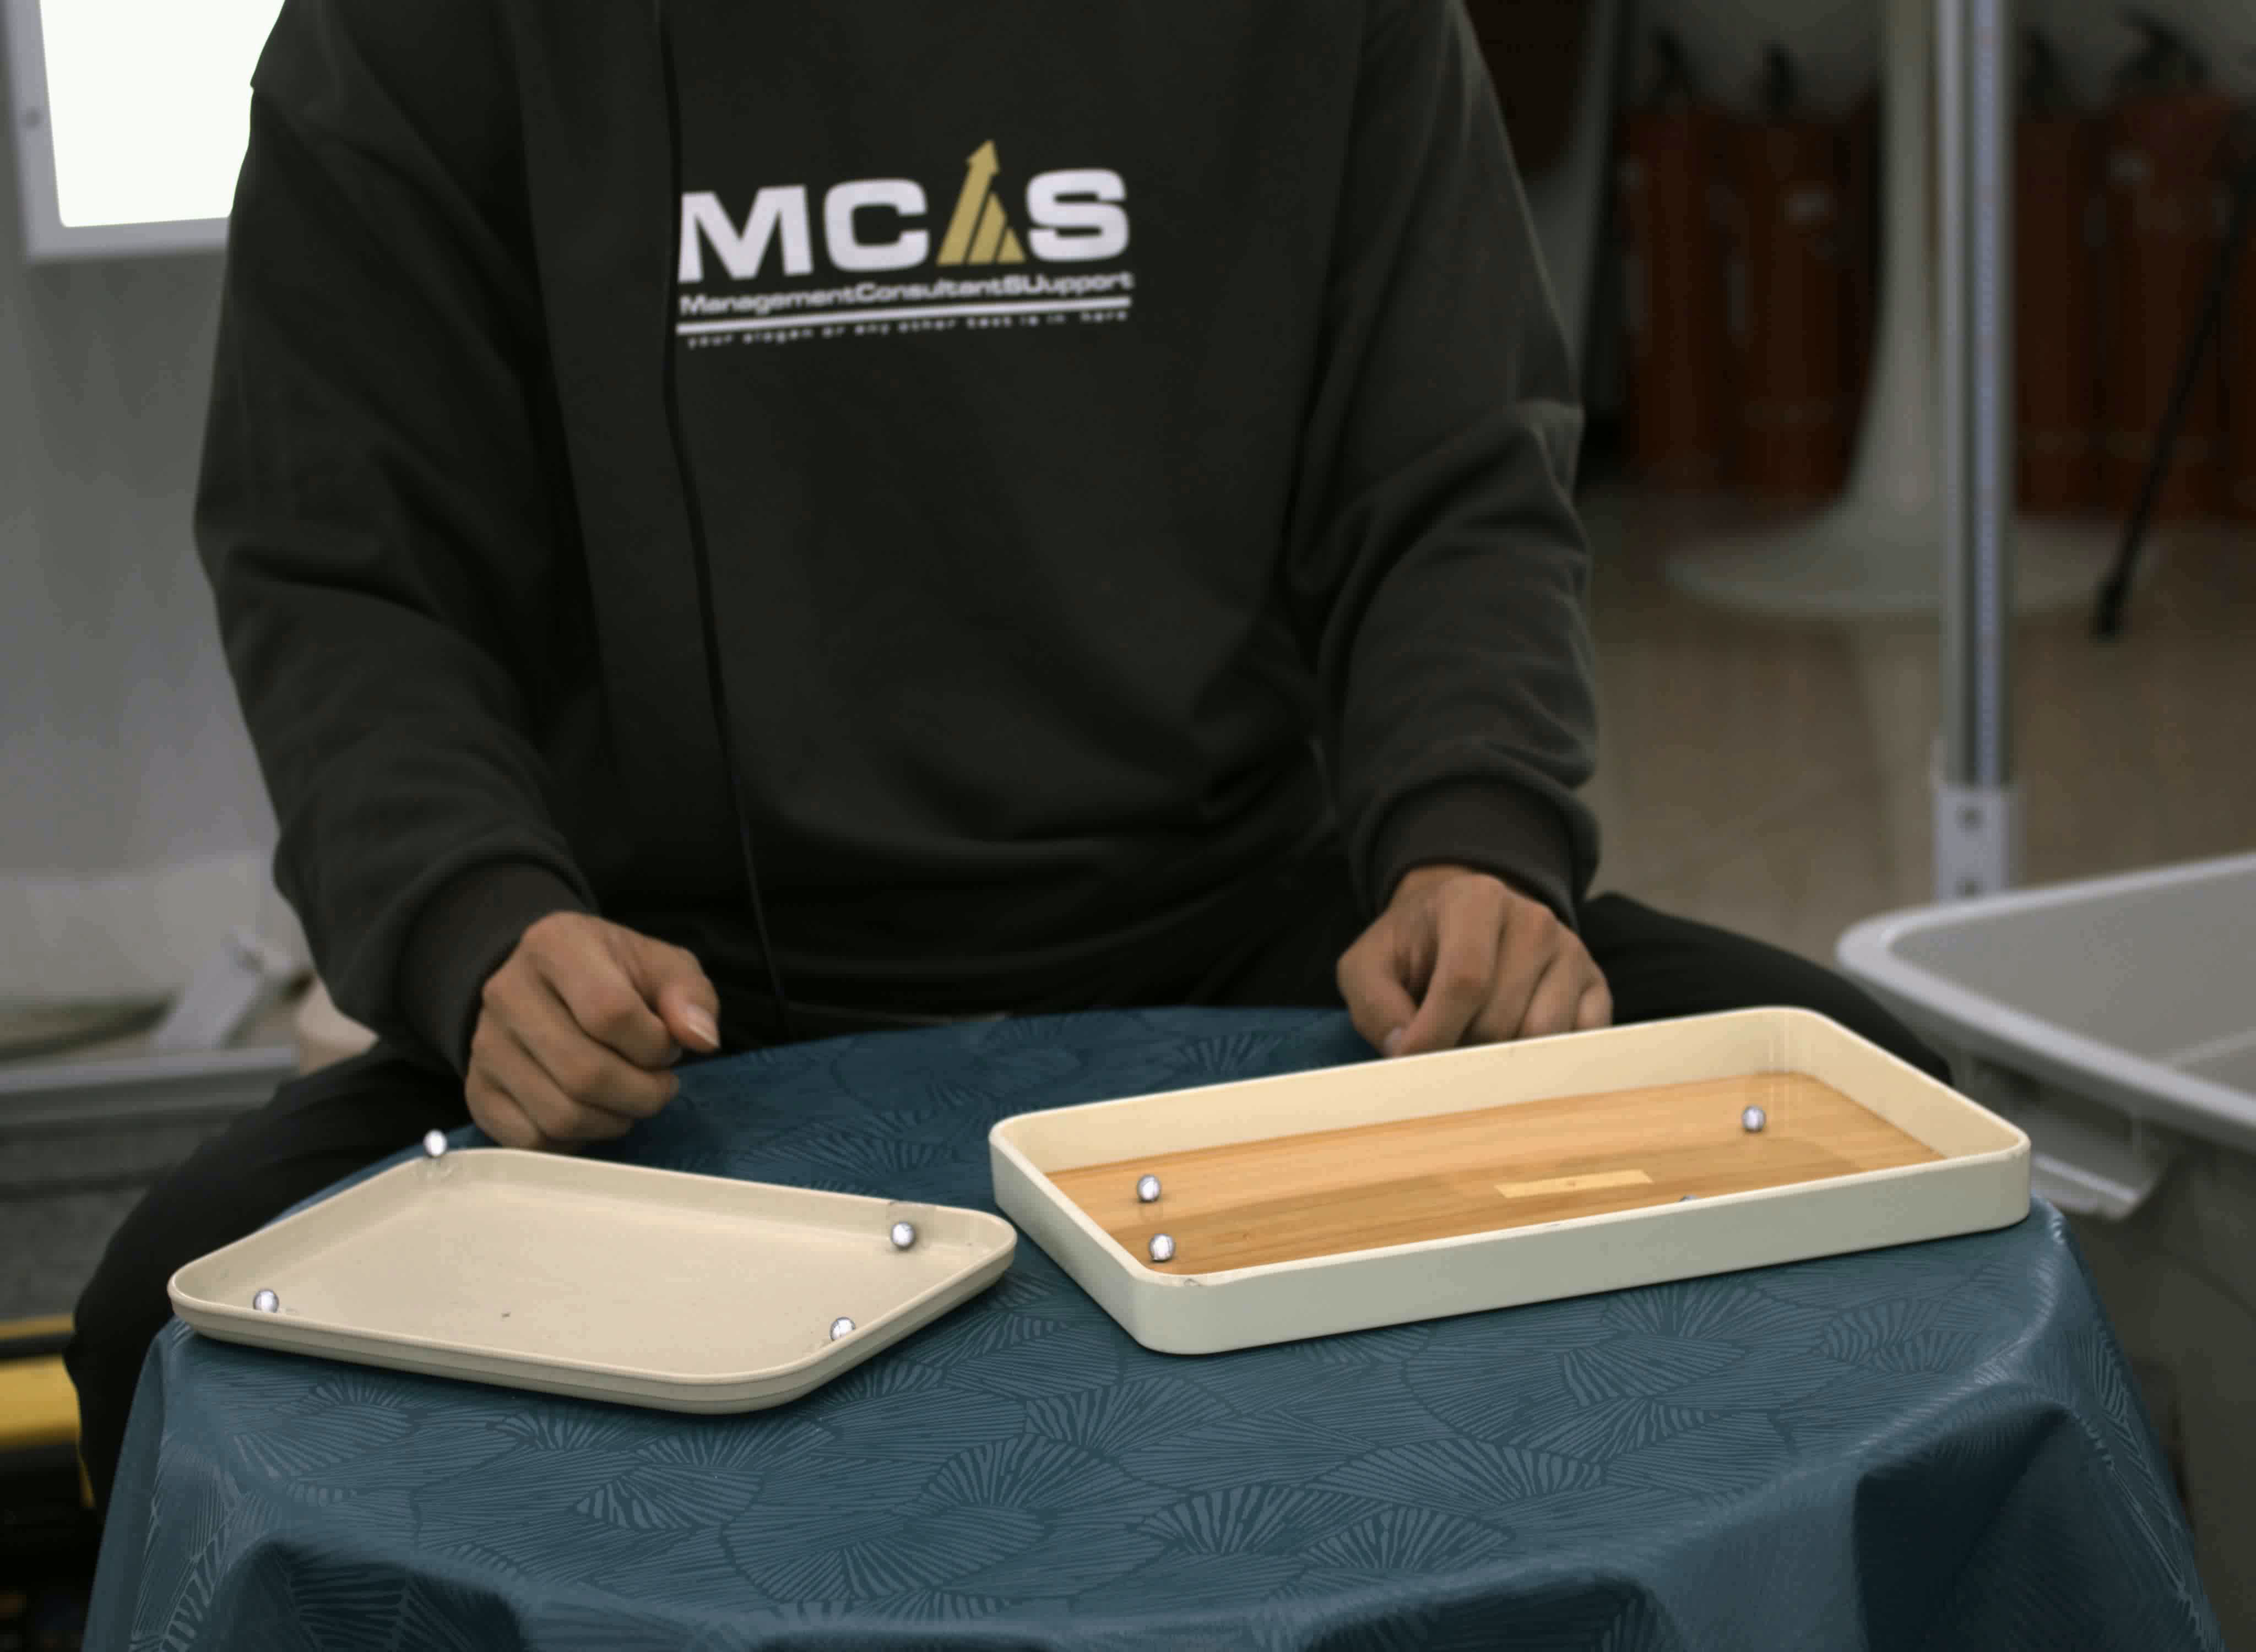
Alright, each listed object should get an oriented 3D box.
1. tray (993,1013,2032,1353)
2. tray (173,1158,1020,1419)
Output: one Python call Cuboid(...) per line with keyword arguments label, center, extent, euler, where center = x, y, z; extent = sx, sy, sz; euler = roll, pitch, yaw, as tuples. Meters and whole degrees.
Cuboid(label="tray", center=(0.120, 0.112, 1.729), extent=(0.294, 0.028, 0.193), euler=(-7, 13, -16))
Cuboid(label="tray", center=(-0.165, 0.144, 1.692), extent=(0.241, 0.017, 0.168), euler=(4, 16, 31))
